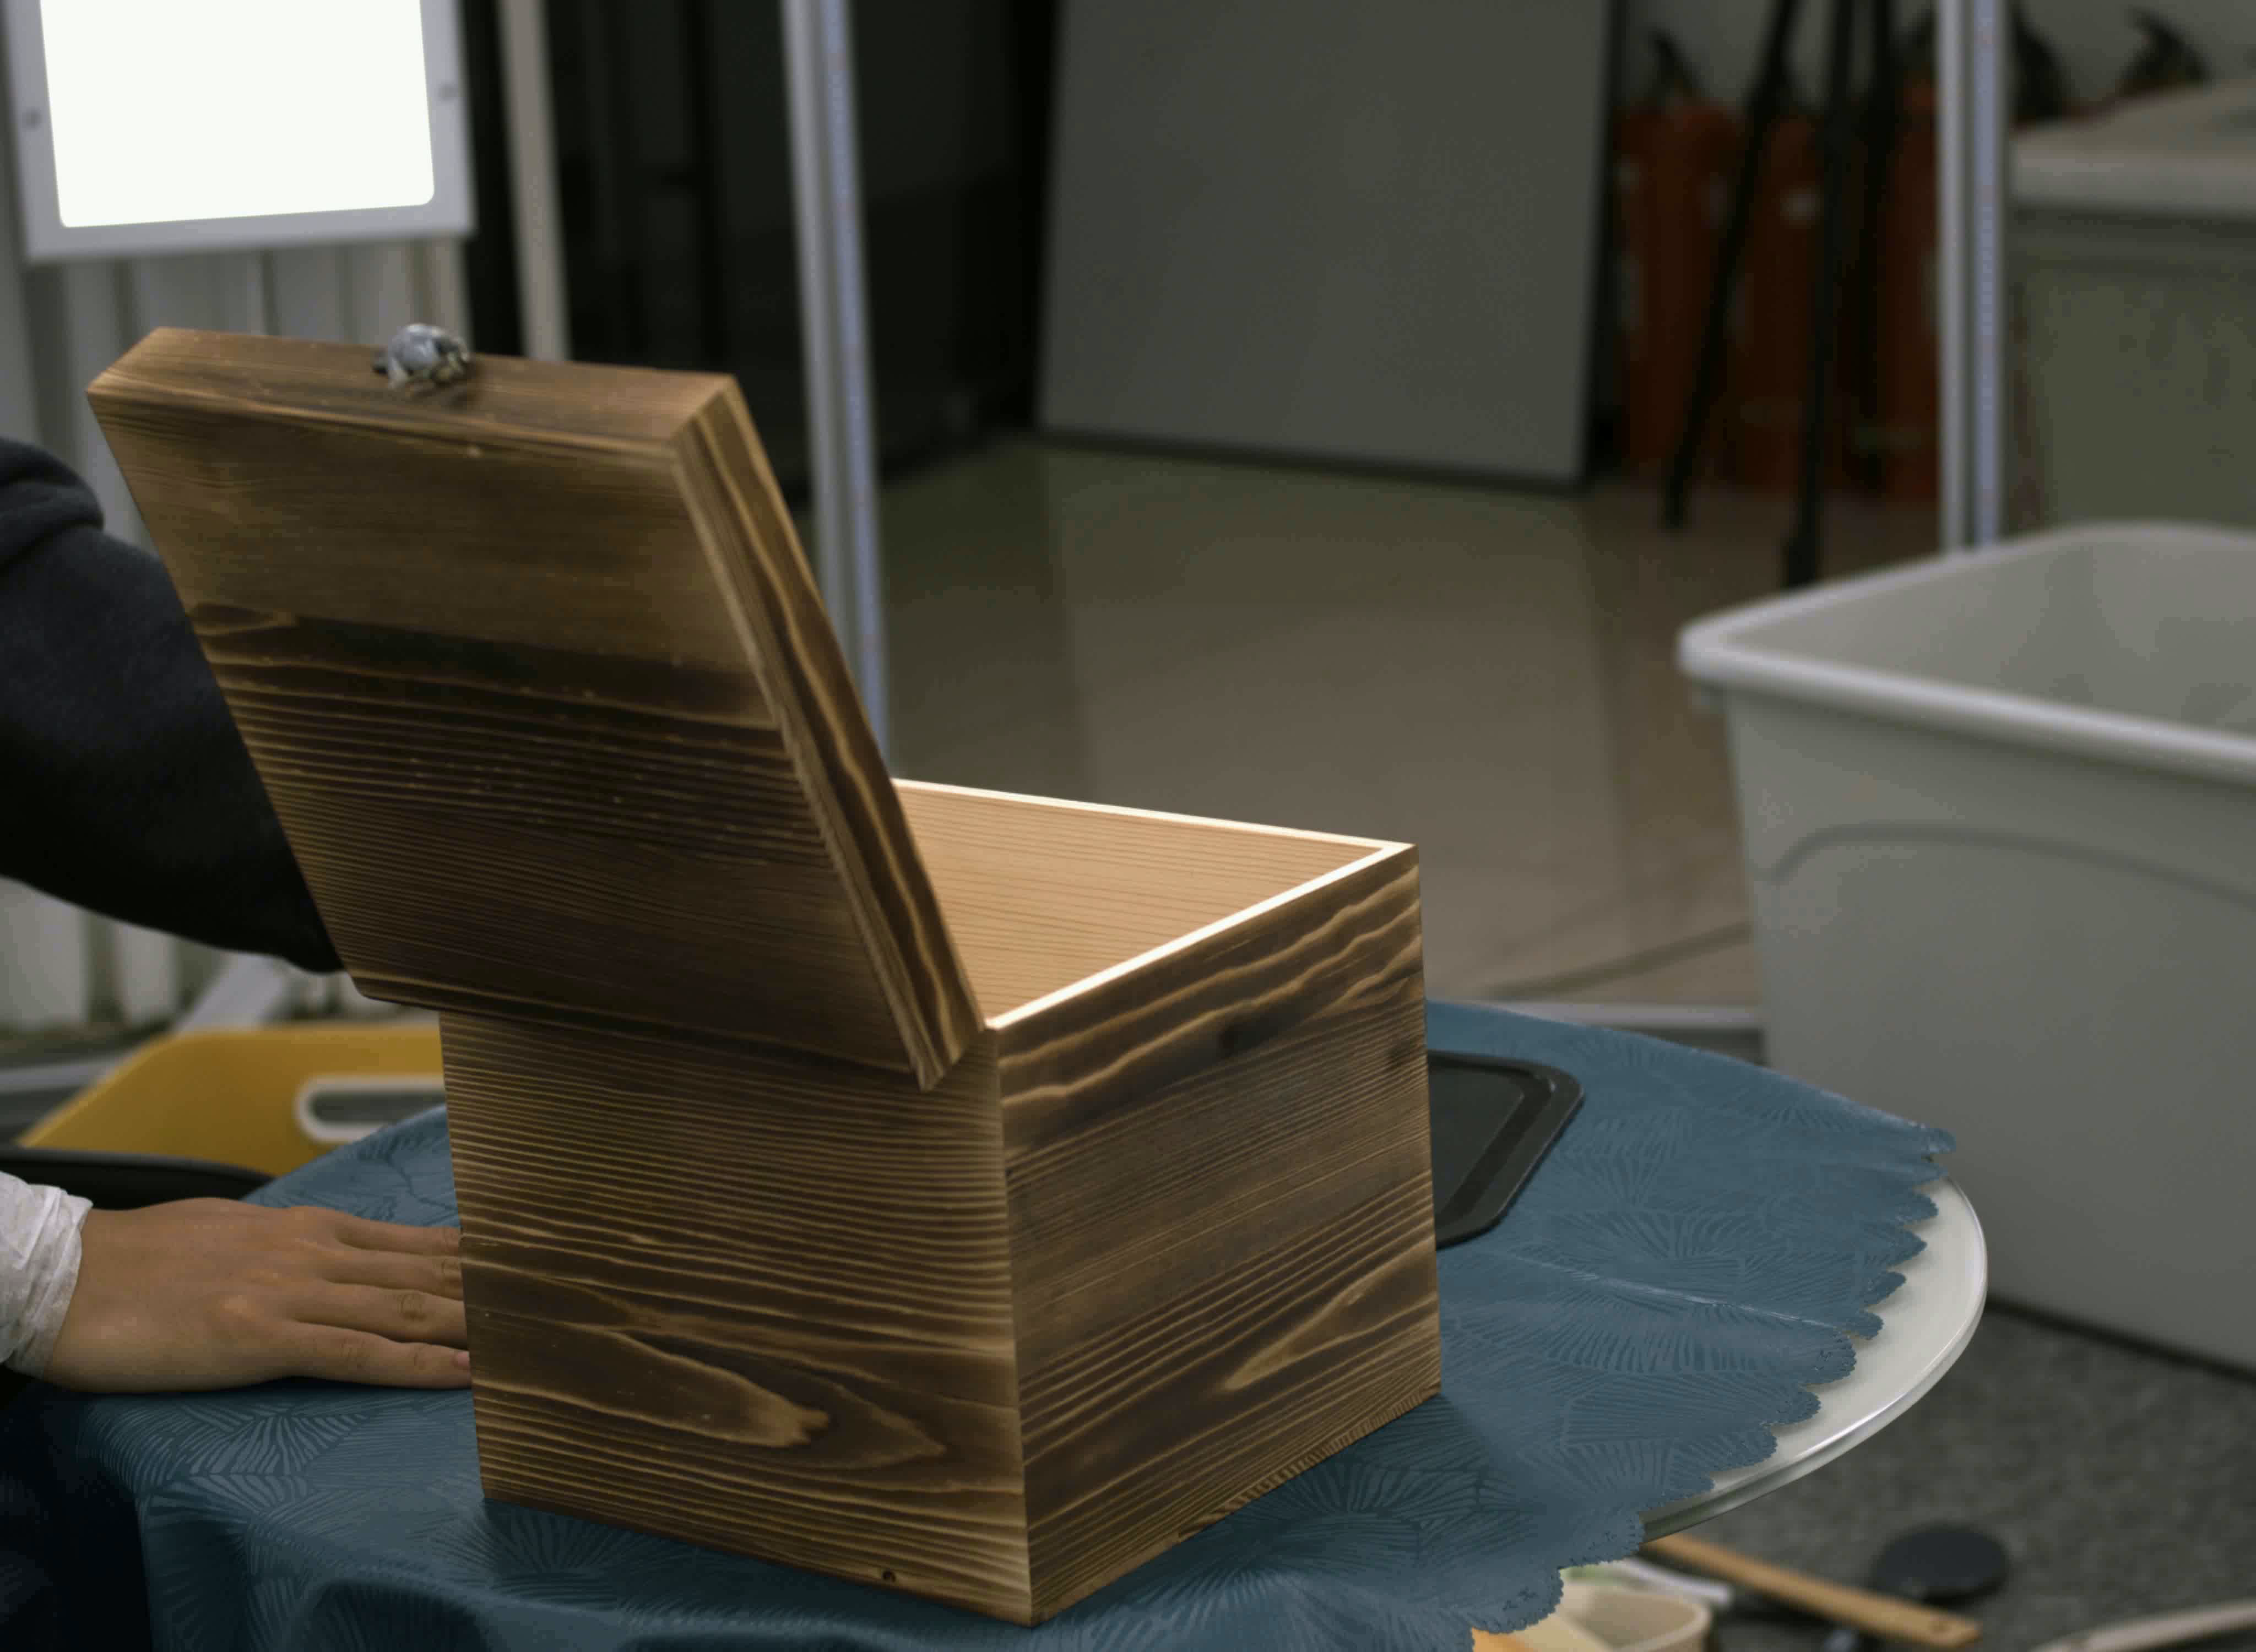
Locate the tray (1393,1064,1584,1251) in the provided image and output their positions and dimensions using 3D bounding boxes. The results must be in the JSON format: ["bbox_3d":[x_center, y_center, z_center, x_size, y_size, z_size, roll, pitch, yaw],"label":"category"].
[{"bbox_3d":[-0.016,0.107,1.818,0.324,0.010,0.209,1,14,18],"label":"tray"}]

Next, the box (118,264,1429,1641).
[{"bbox_3d":[-0.084,0.015,1.466,0.210,0.379,0.316,7,18,36],"label":"box"}]
